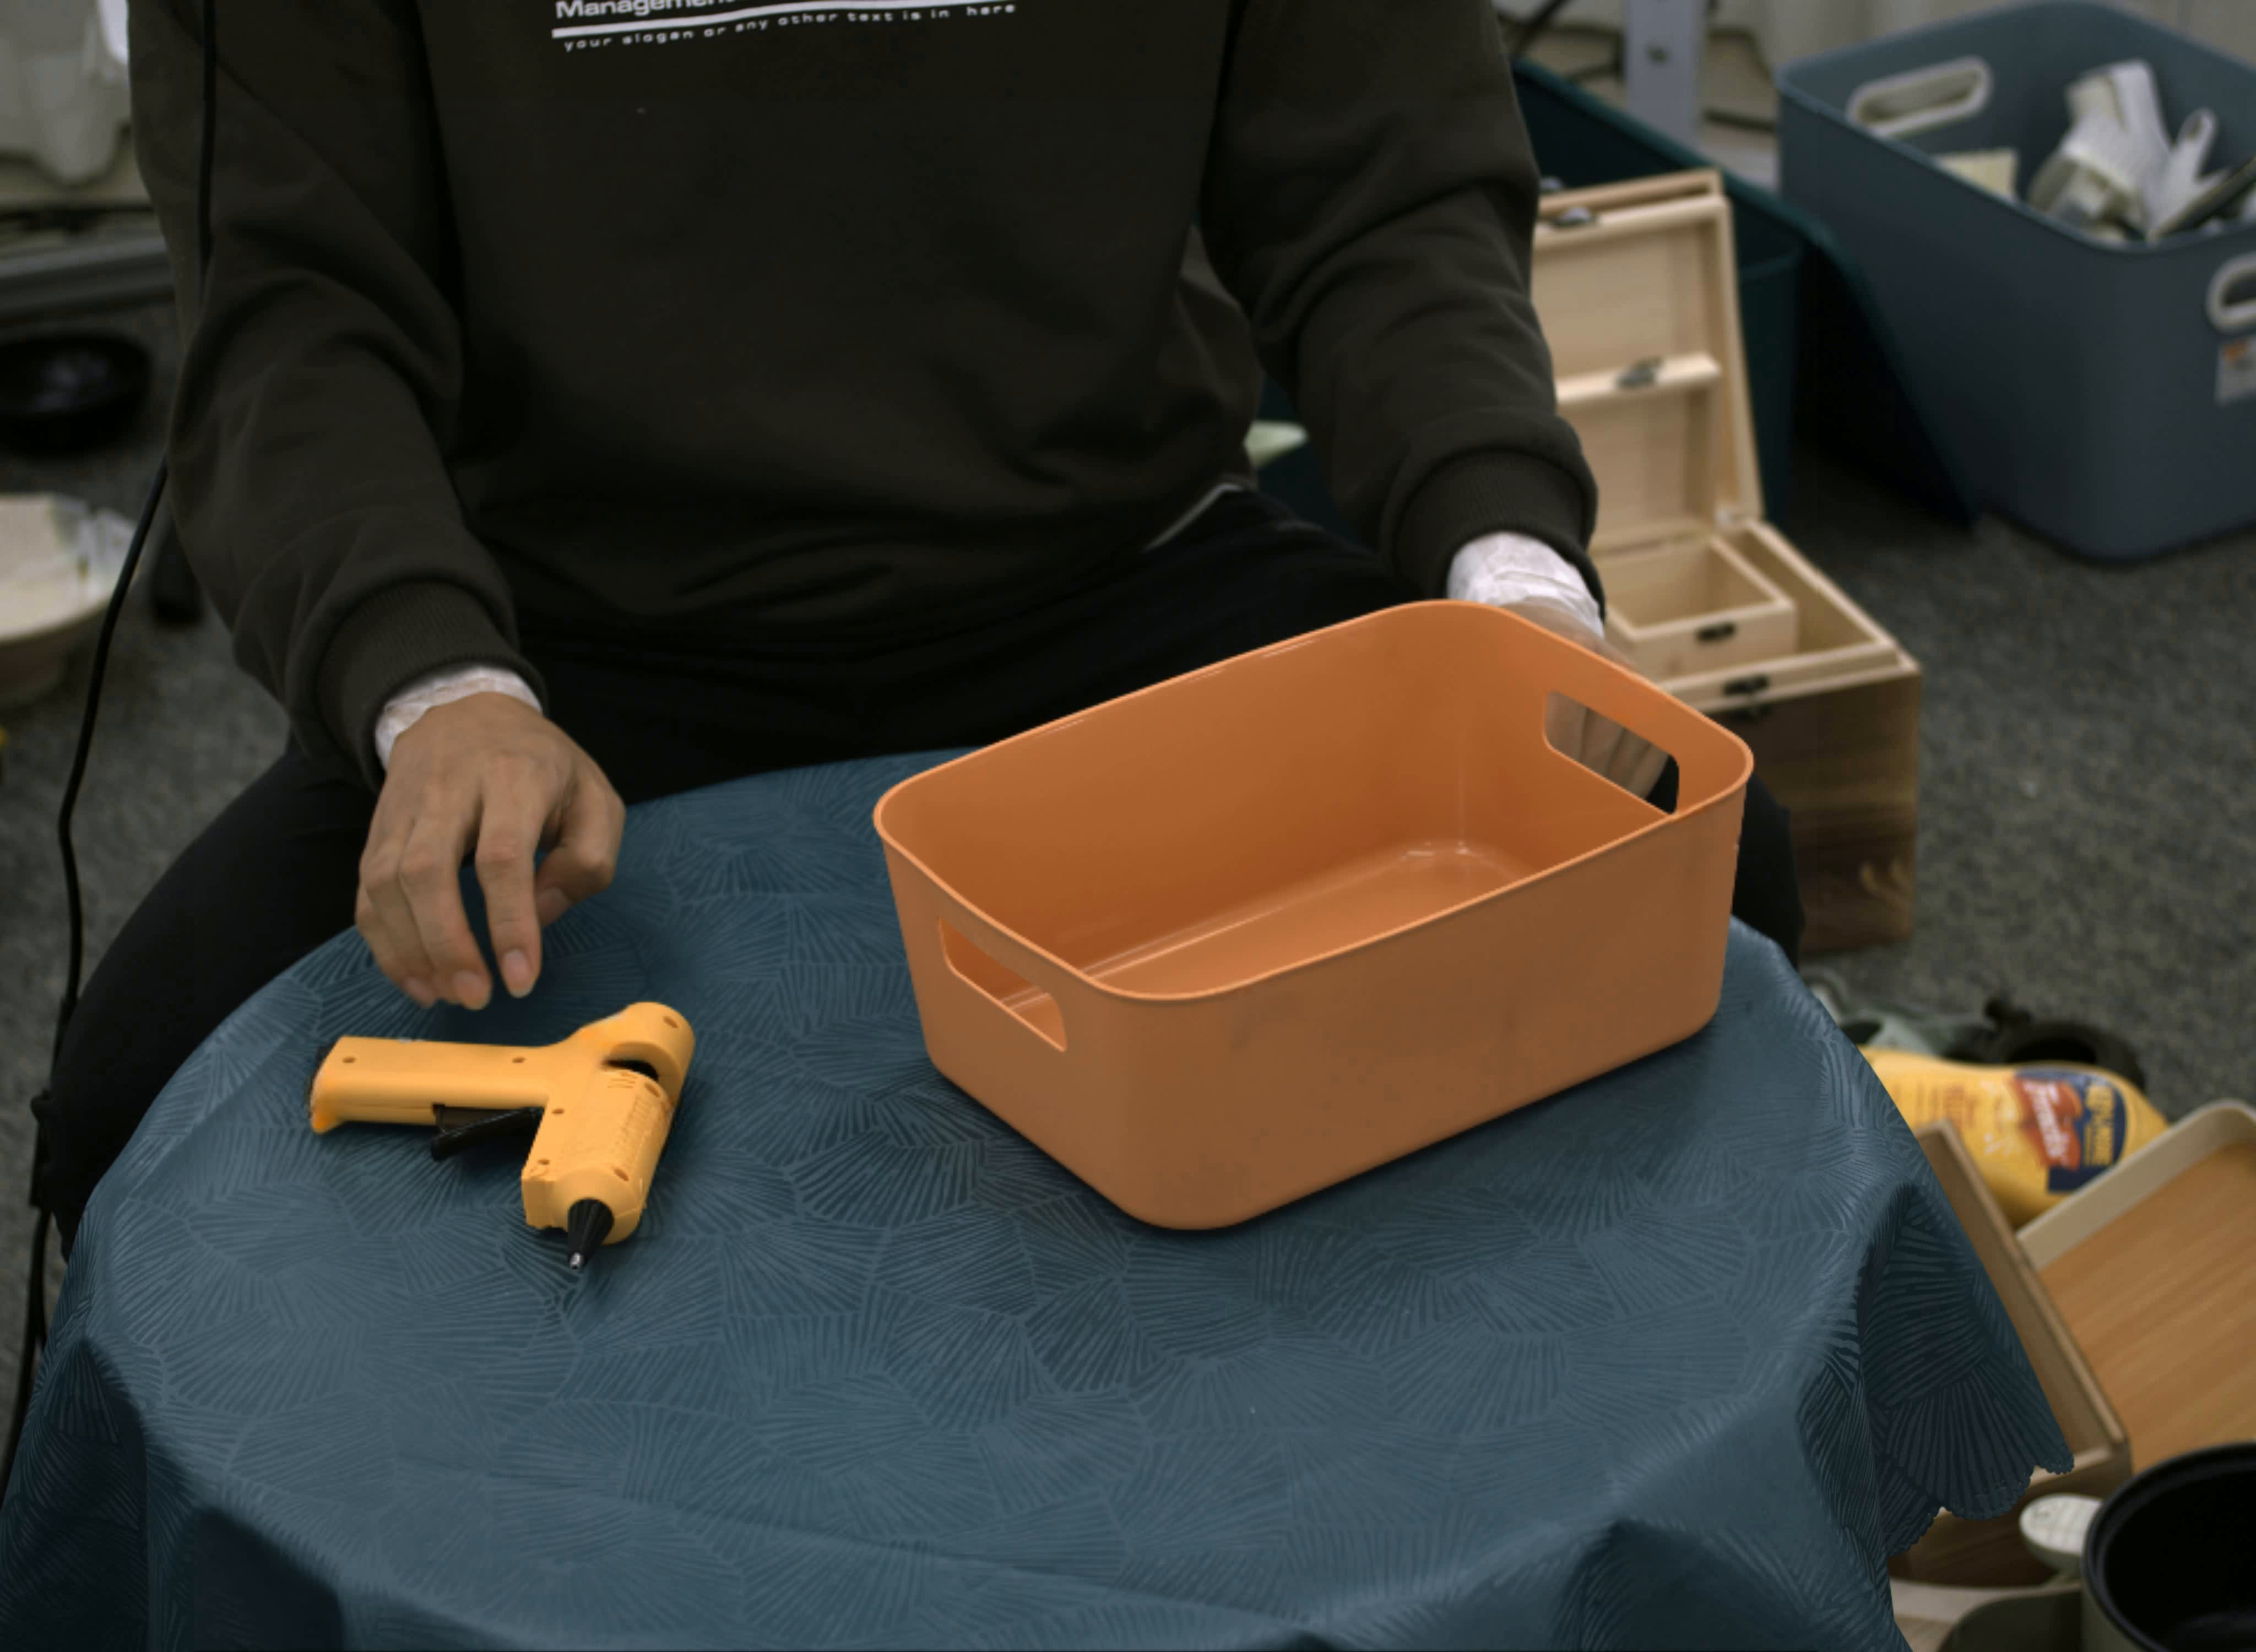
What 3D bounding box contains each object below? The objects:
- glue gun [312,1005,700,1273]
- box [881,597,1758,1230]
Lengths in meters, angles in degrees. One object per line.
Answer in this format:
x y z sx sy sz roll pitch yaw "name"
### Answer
-0.215 0.111 1.882 0.132 0.031 0.153 -3 27 3 "glue gun"
0.067 0.029 1.928 0.275 0.101 0.200 -21 32 -29 "box"
